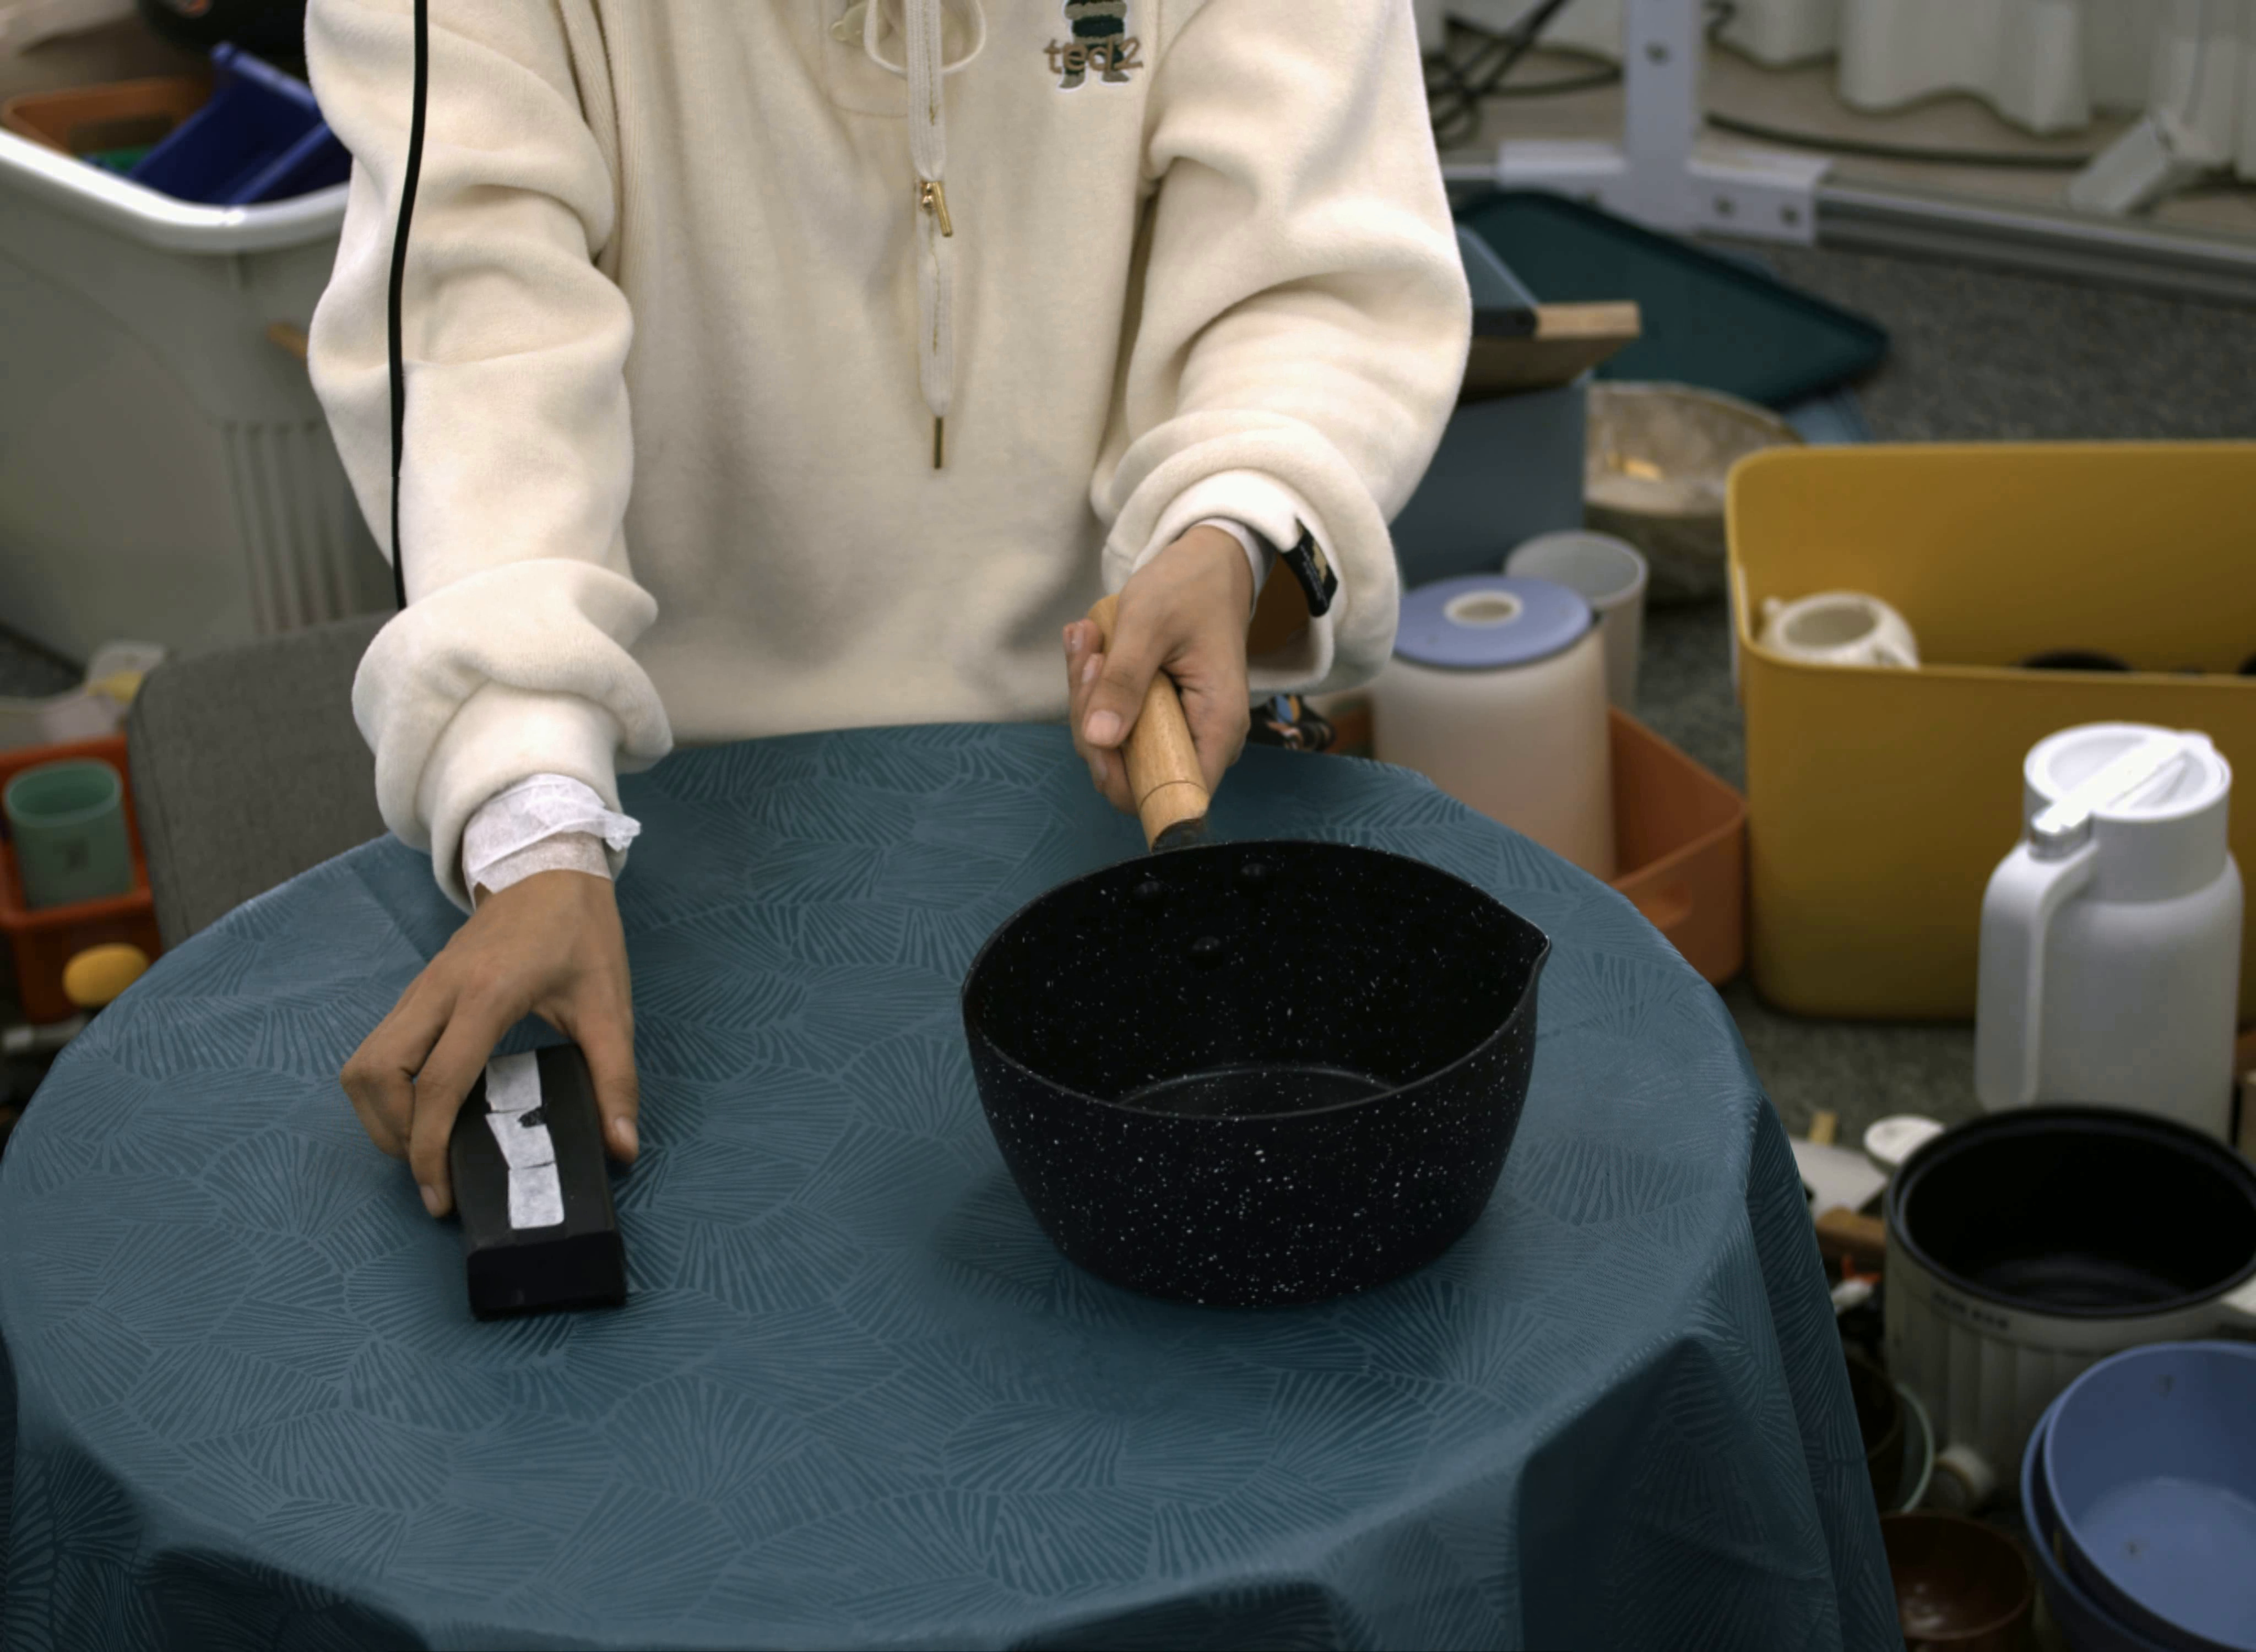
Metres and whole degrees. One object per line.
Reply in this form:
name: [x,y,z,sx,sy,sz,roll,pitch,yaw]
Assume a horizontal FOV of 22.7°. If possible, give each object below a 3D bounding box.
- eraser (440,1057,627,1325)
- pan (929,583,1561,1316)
eraser: [-0.196,0.120,1.853,0.053,0.030,0.127,-7,27,-8]
pan: [0.027,0.038,1.904,0.207,0.107,0.347,-8,29,-8]
